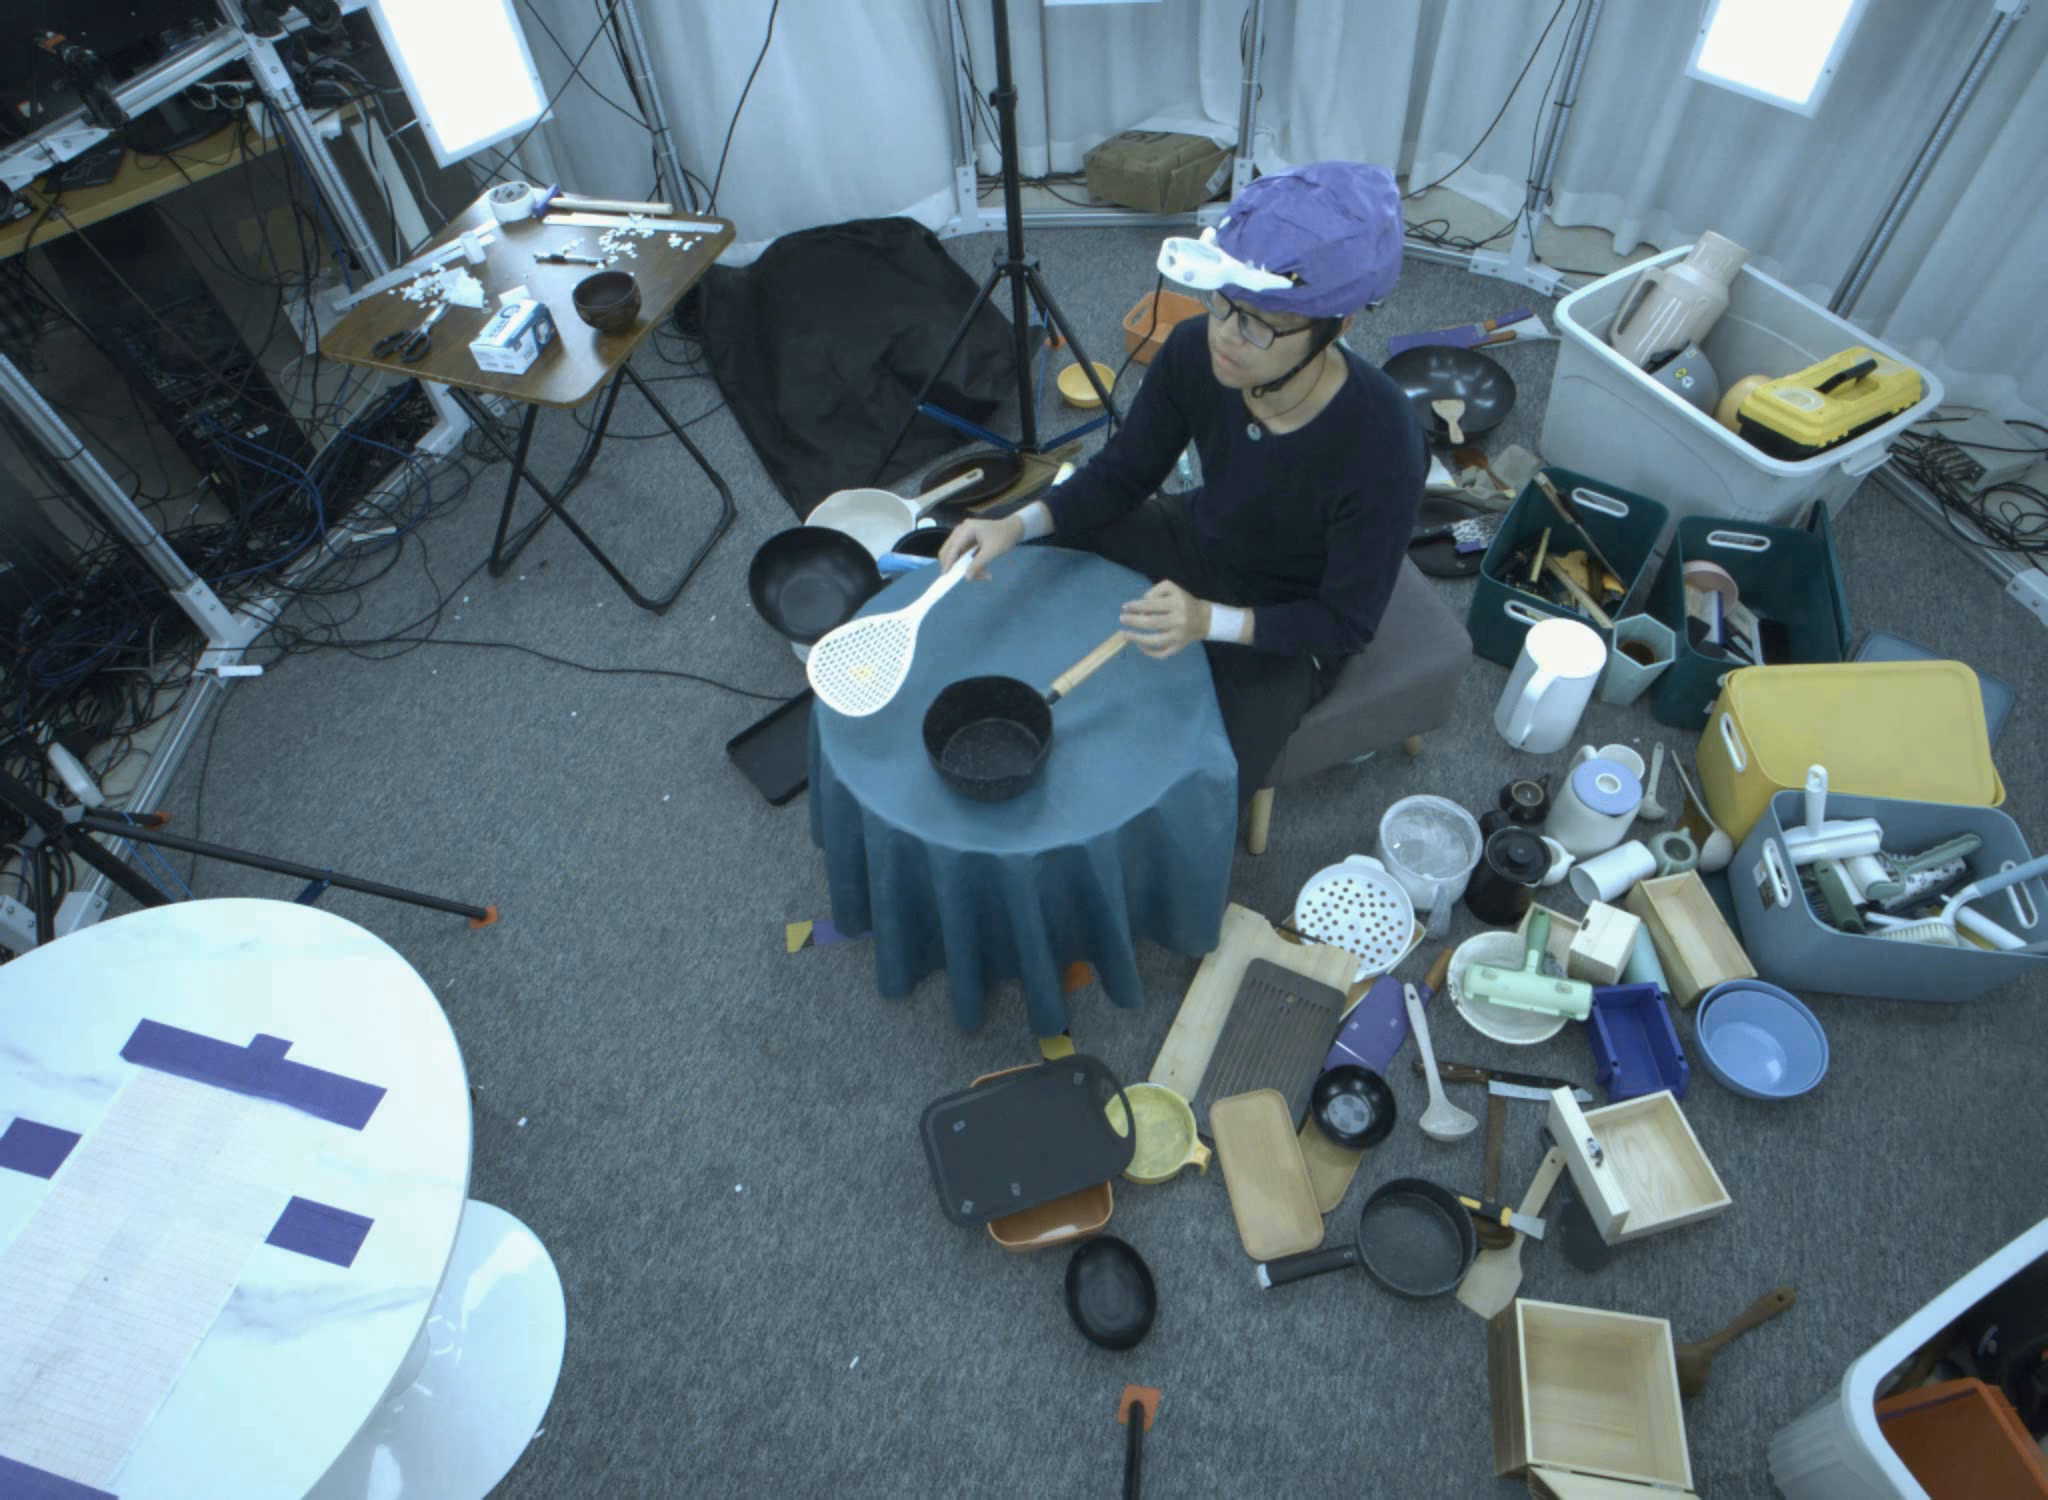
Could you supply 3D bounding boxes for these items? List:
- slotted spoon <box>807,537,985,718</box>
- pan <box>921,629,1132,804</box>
[{"bbox_3d":[-0.171,-0.190,1.790,0.136,0.050,0.348,41,80,4],"label":"slotted spoon"},{"bbox_3d":[0.014,-0.057,1.760,0.345,0.109,0.203,-33,59,-18],"label":"pan"}]
